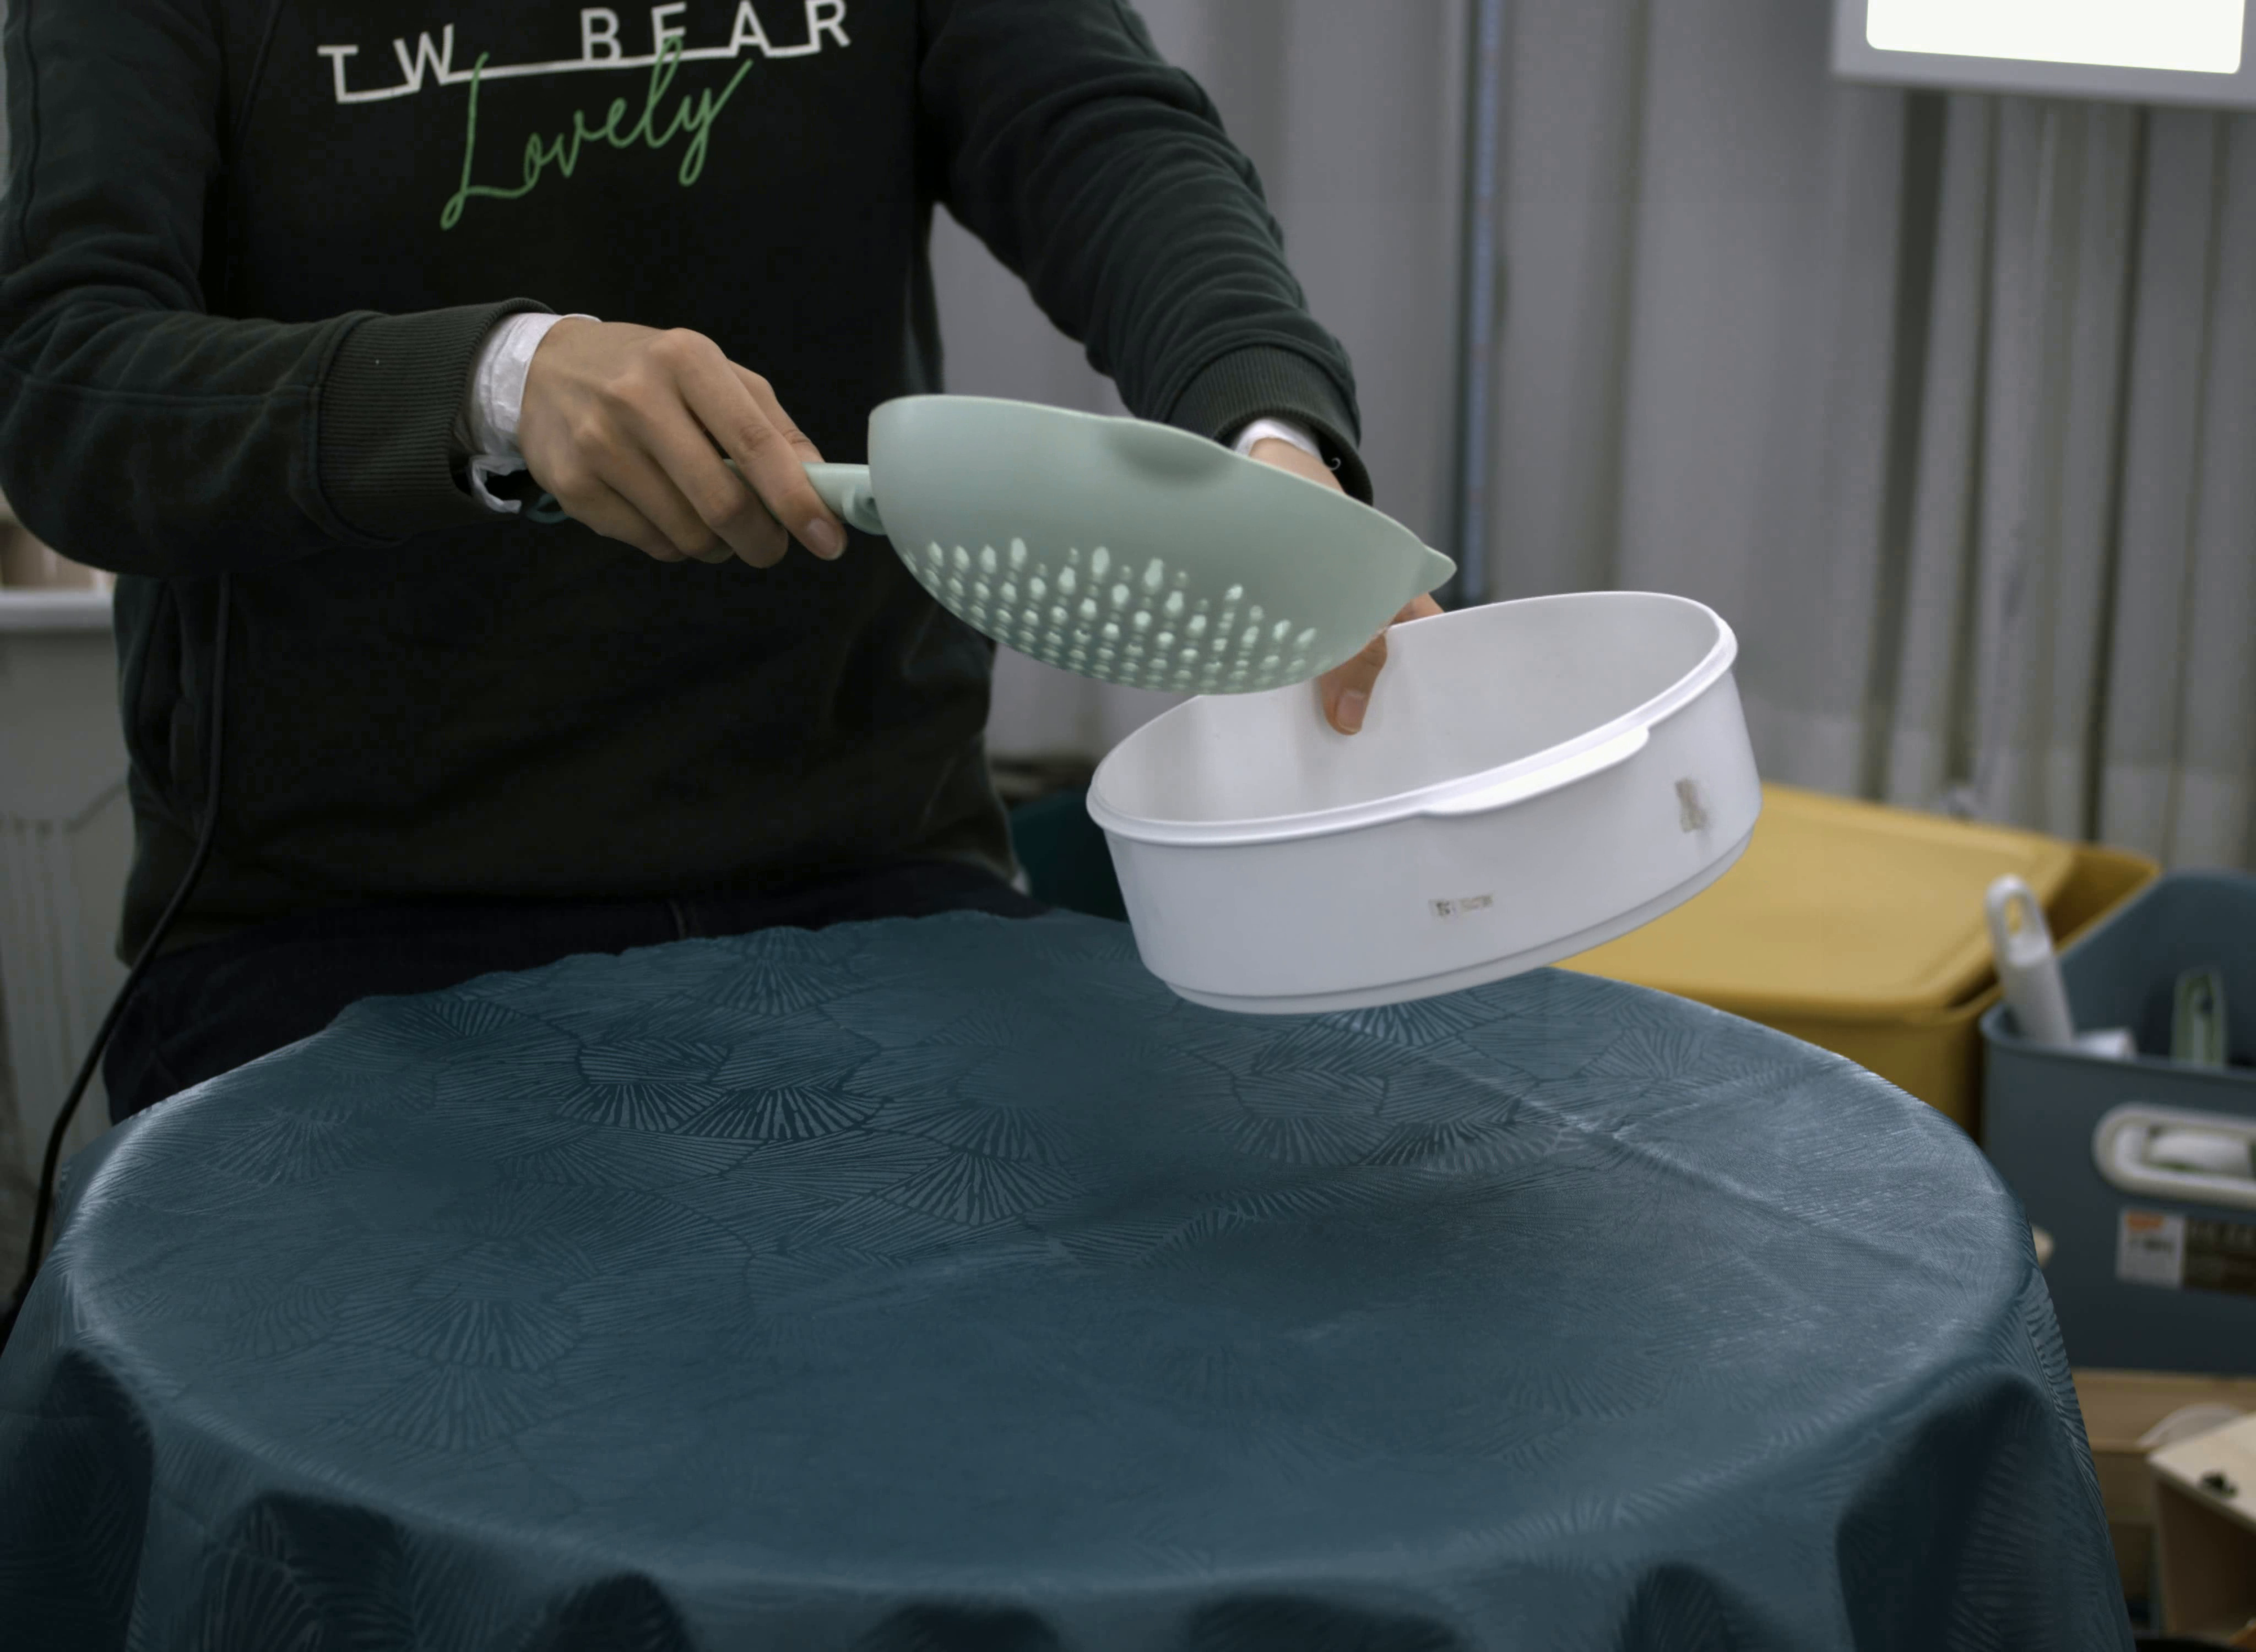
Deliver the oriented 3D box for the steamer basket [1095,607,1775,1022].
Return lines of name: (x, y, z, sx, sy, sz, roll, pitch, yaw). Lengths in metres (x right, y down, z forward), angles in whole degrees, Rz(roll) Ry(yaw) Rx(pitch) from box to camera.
steamer basket: (0.094, -0.003, 1.577, 0.202, 0.070, 0.228, -19, 16, -17)

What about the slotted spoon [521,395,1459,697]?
slotted spoon: (-0.066, -0.095, 1.607, 0.354, 0.075, 0.171, 17, -4, 45)
